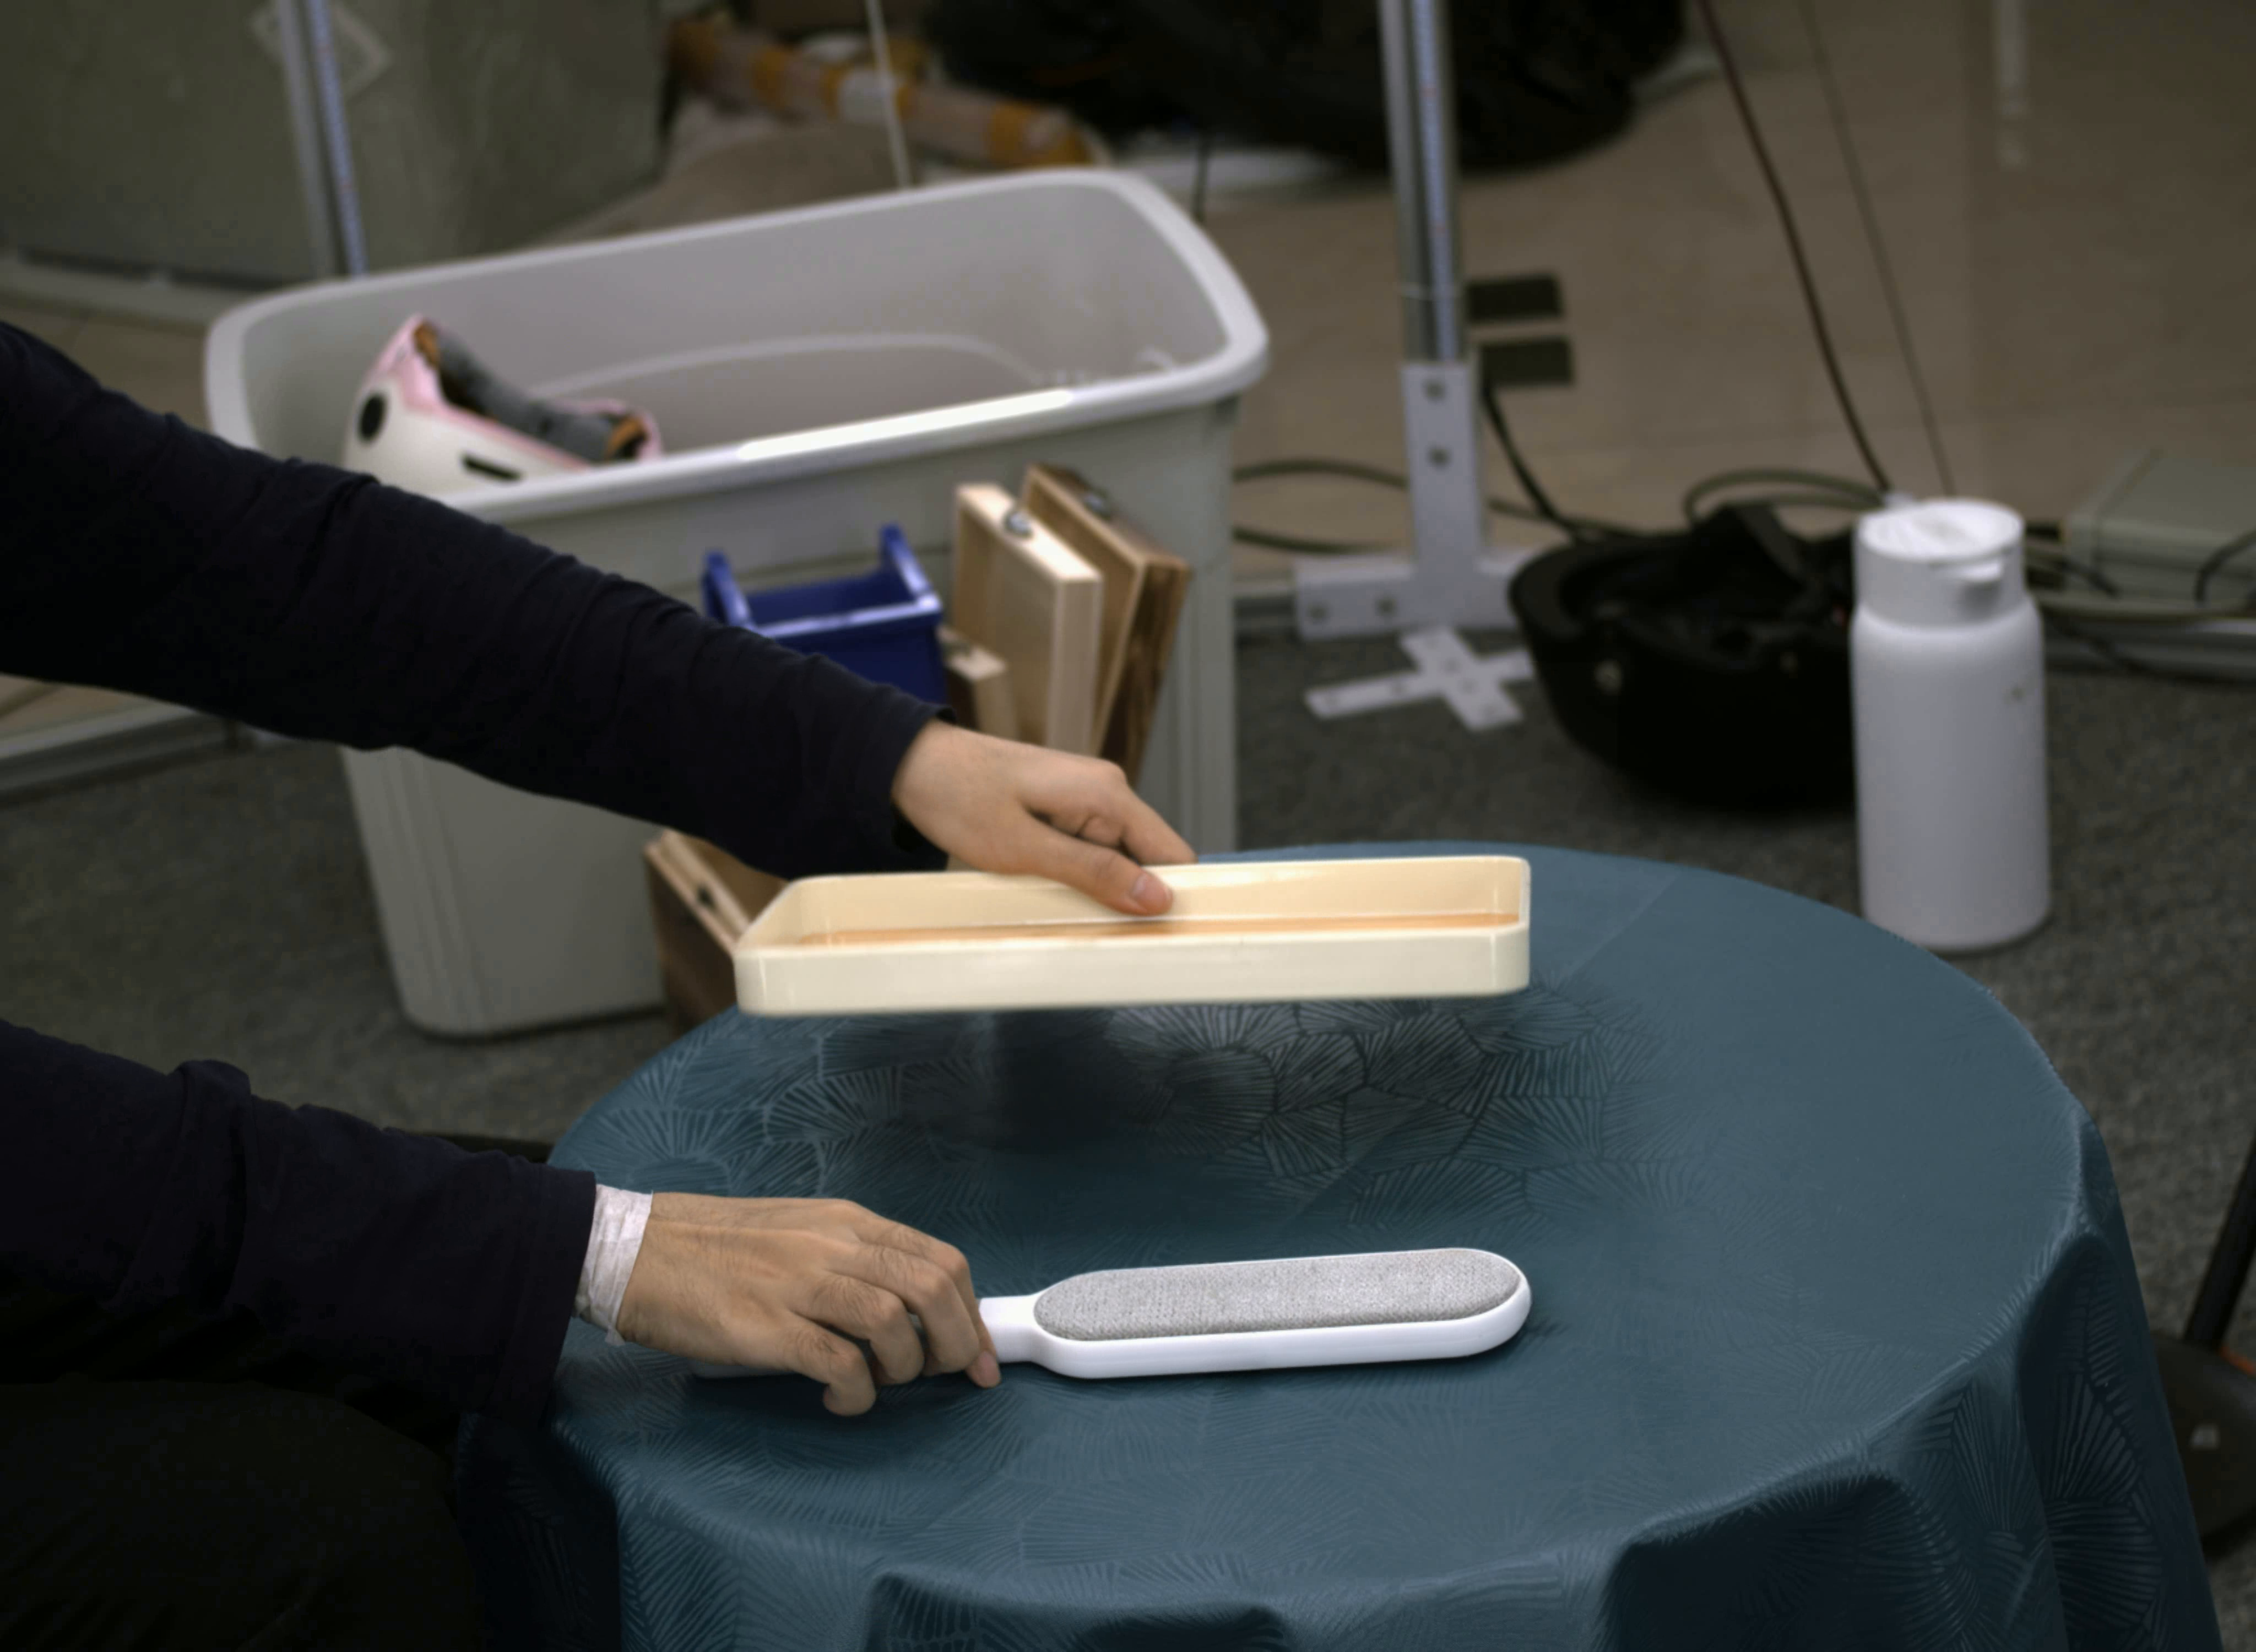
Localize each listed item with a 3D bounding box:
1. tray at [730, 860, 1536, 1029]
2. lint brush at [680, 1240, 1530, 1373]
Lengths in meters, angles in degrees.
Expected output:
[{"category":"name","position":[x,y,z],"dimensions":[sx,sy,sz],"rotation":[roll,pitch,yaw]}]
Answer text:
[{"category":"tray","position":[0.006,0.045,2.191],"dimensions":[0.300,0.027,0.190],"rotation":[-3,8,6]},{"category":"lint brush","position":[-0.010,0.175,2.043],"dimensions":[0.308,0.021,0.059],"rotation":[-3,31,7]}]
